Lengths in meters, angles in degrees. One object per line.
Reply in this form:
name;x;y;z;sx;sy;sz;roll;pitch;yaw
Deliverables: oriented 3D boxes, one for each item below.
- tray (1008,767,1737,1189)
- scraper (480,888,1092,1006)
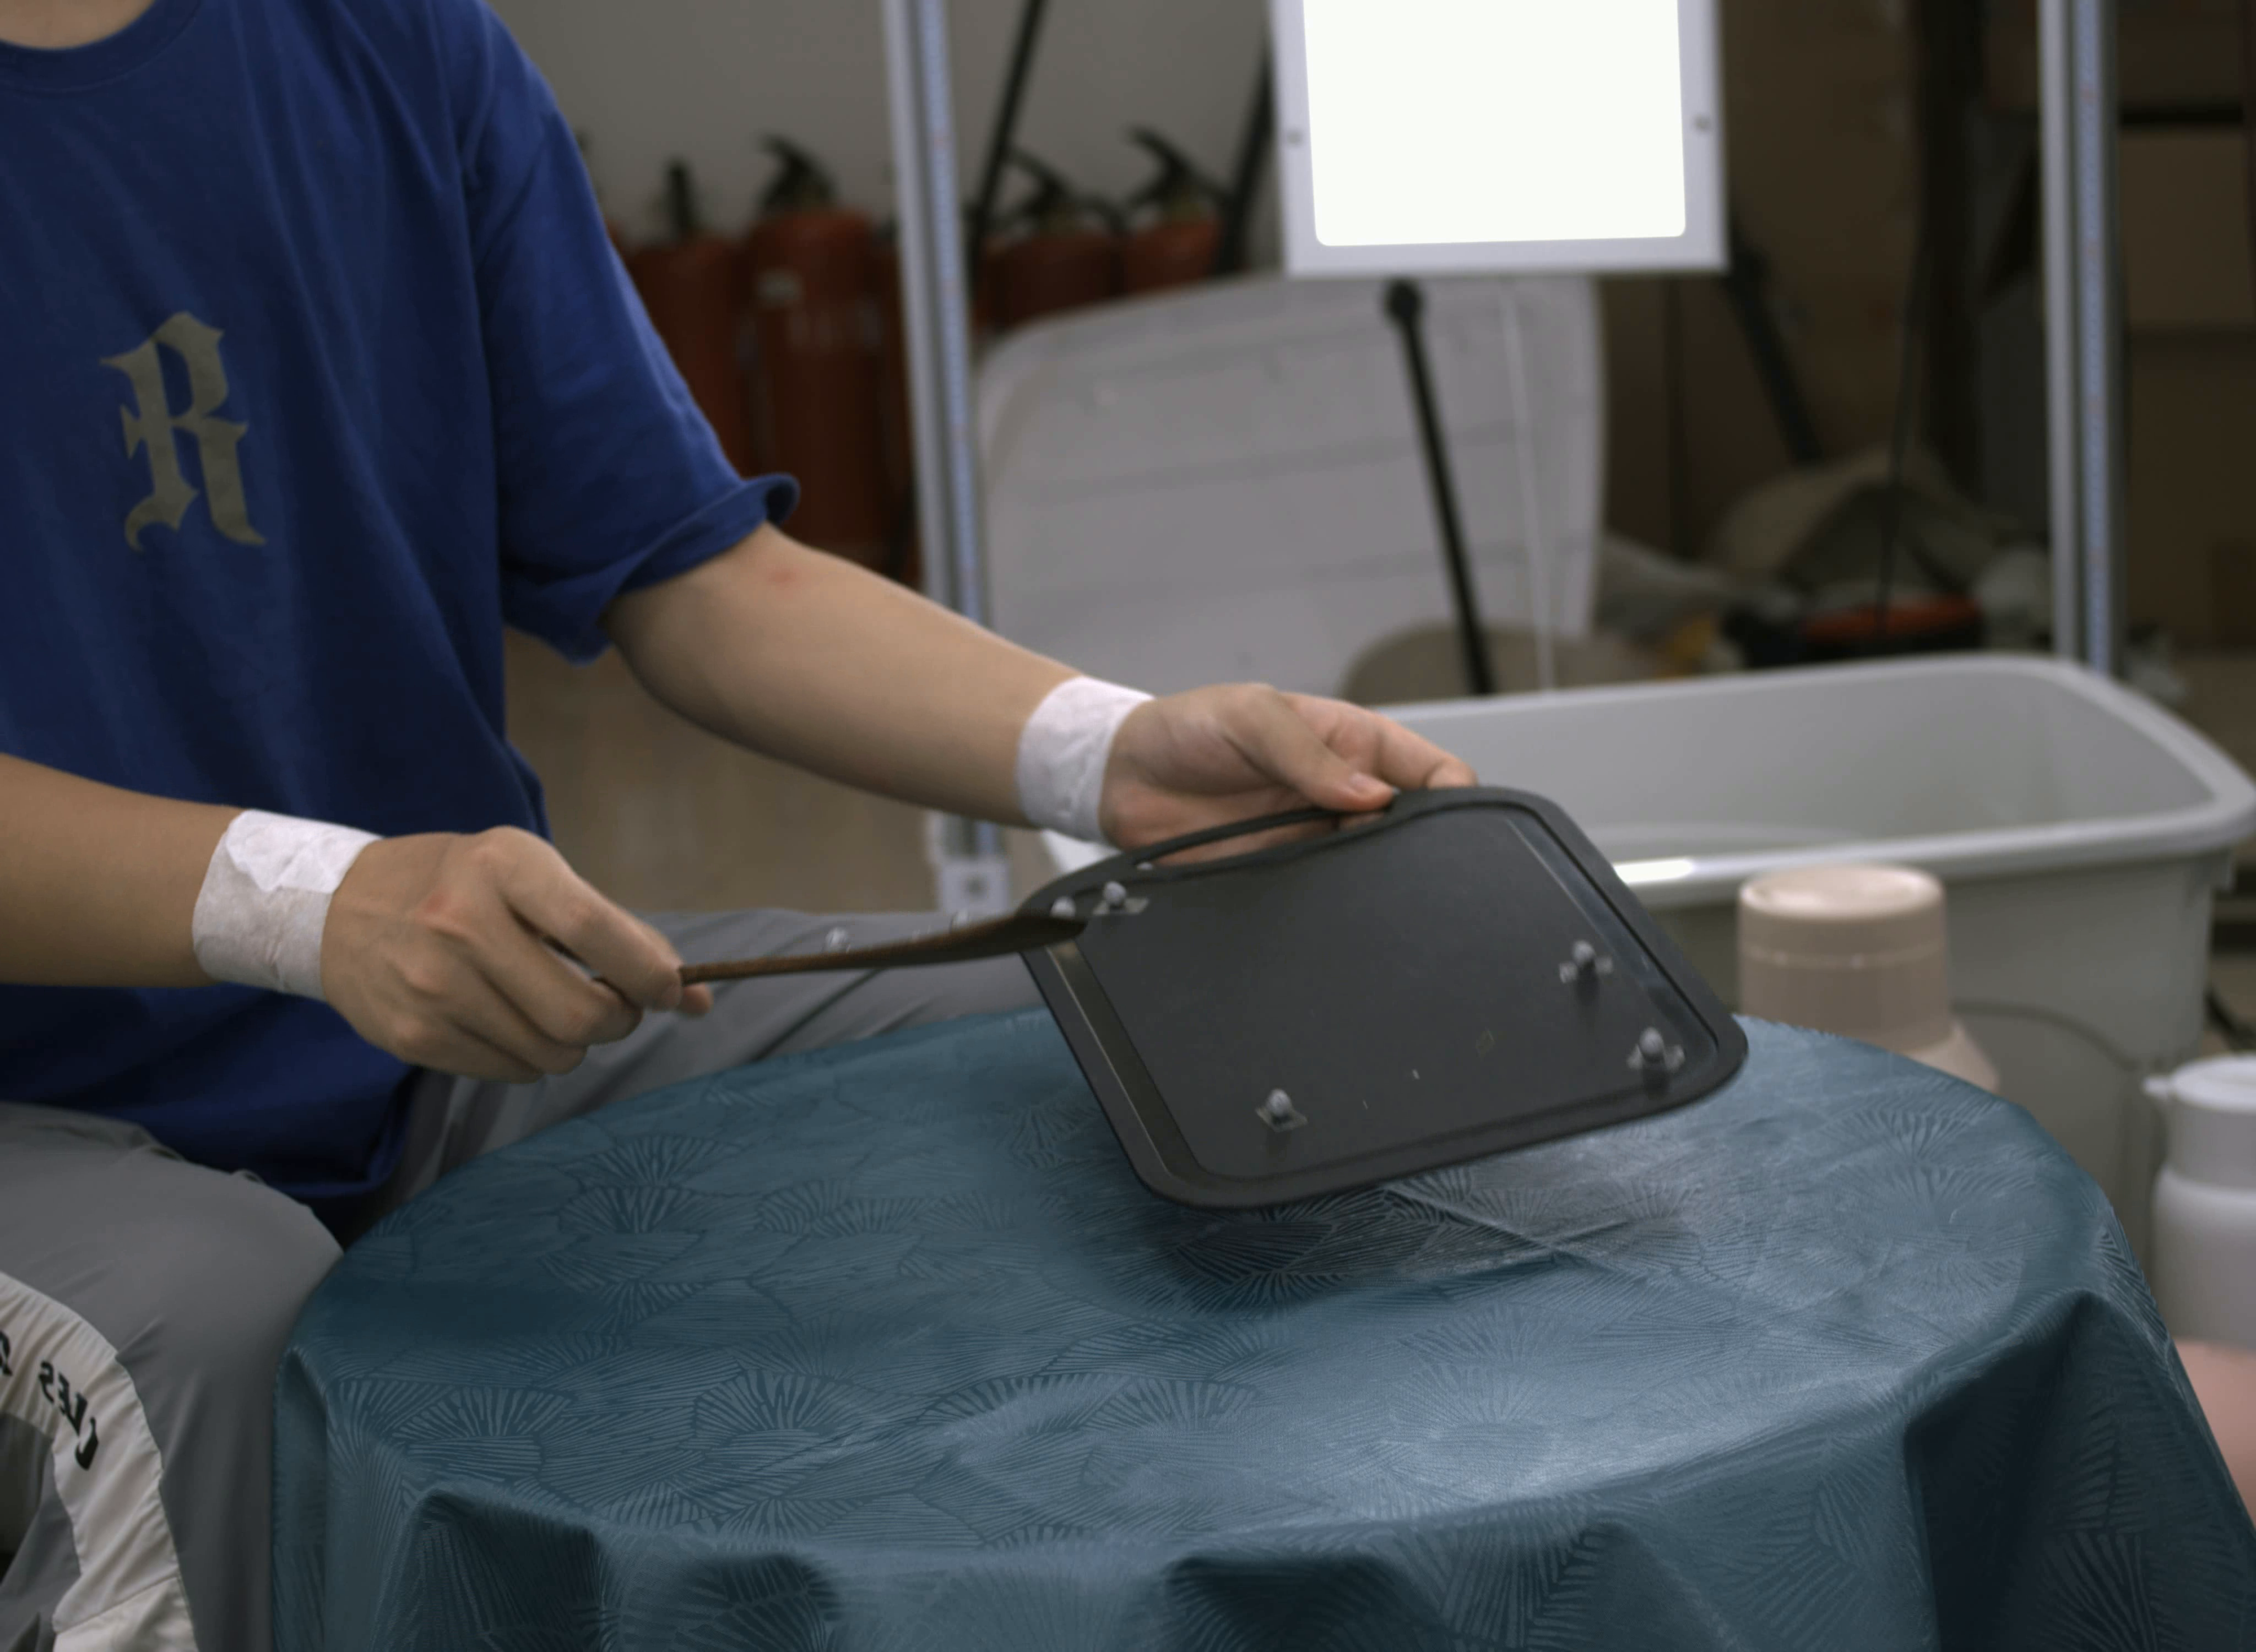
tray;0.076;0.045;1.919;0.209;0.010;0.327;-14;22;-6
scraper;-0.116;0.042;1.813;0.214;0.011;0.074;-9;-9;21
